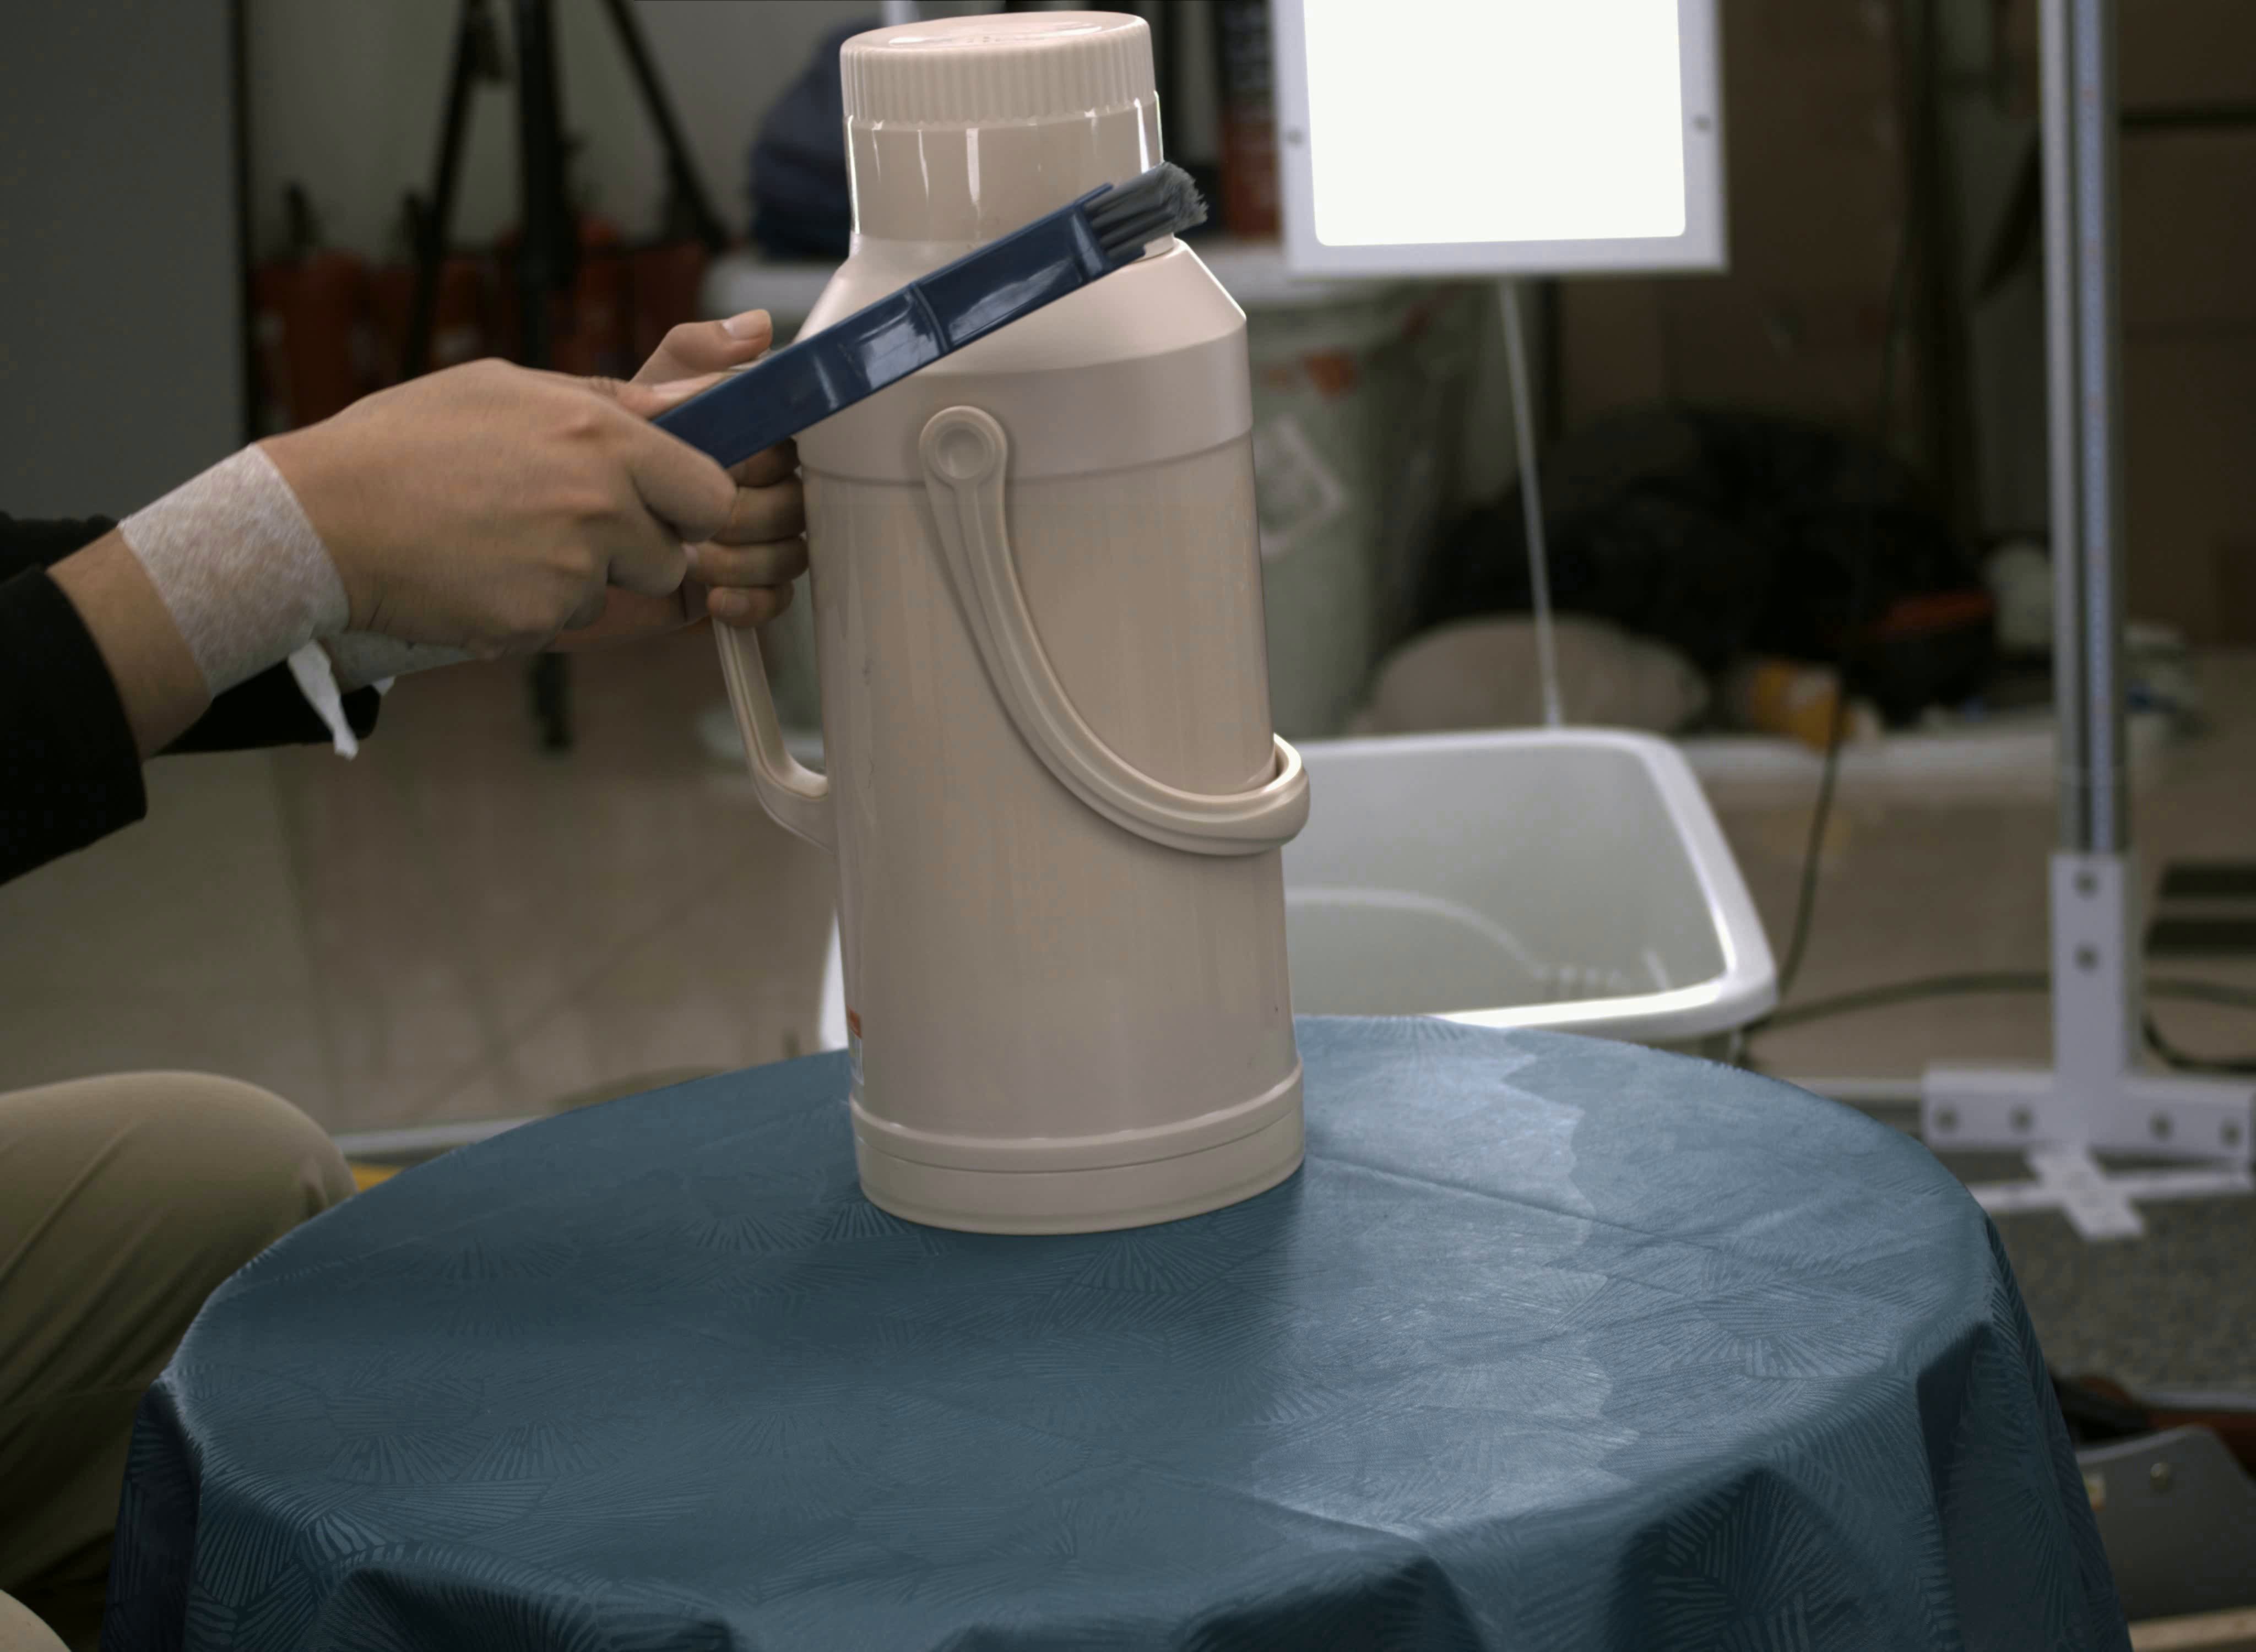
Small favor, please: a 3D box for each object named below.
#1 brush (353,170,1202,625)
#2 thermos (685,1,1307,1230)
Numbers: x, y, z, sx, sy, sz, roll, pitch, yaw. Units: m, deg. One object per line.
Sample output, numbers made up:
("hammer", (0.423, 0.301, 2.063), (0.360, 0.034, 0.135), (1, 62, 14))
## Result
("brush", (-0.110, -0.137, 1.715), (0.270, 0.033, 0.096), (-27, 6, -11))
("thermos", (-0.044, -0.073, 1.894), (0.209, 0.408, 0.173), (-1, 16, 14))
